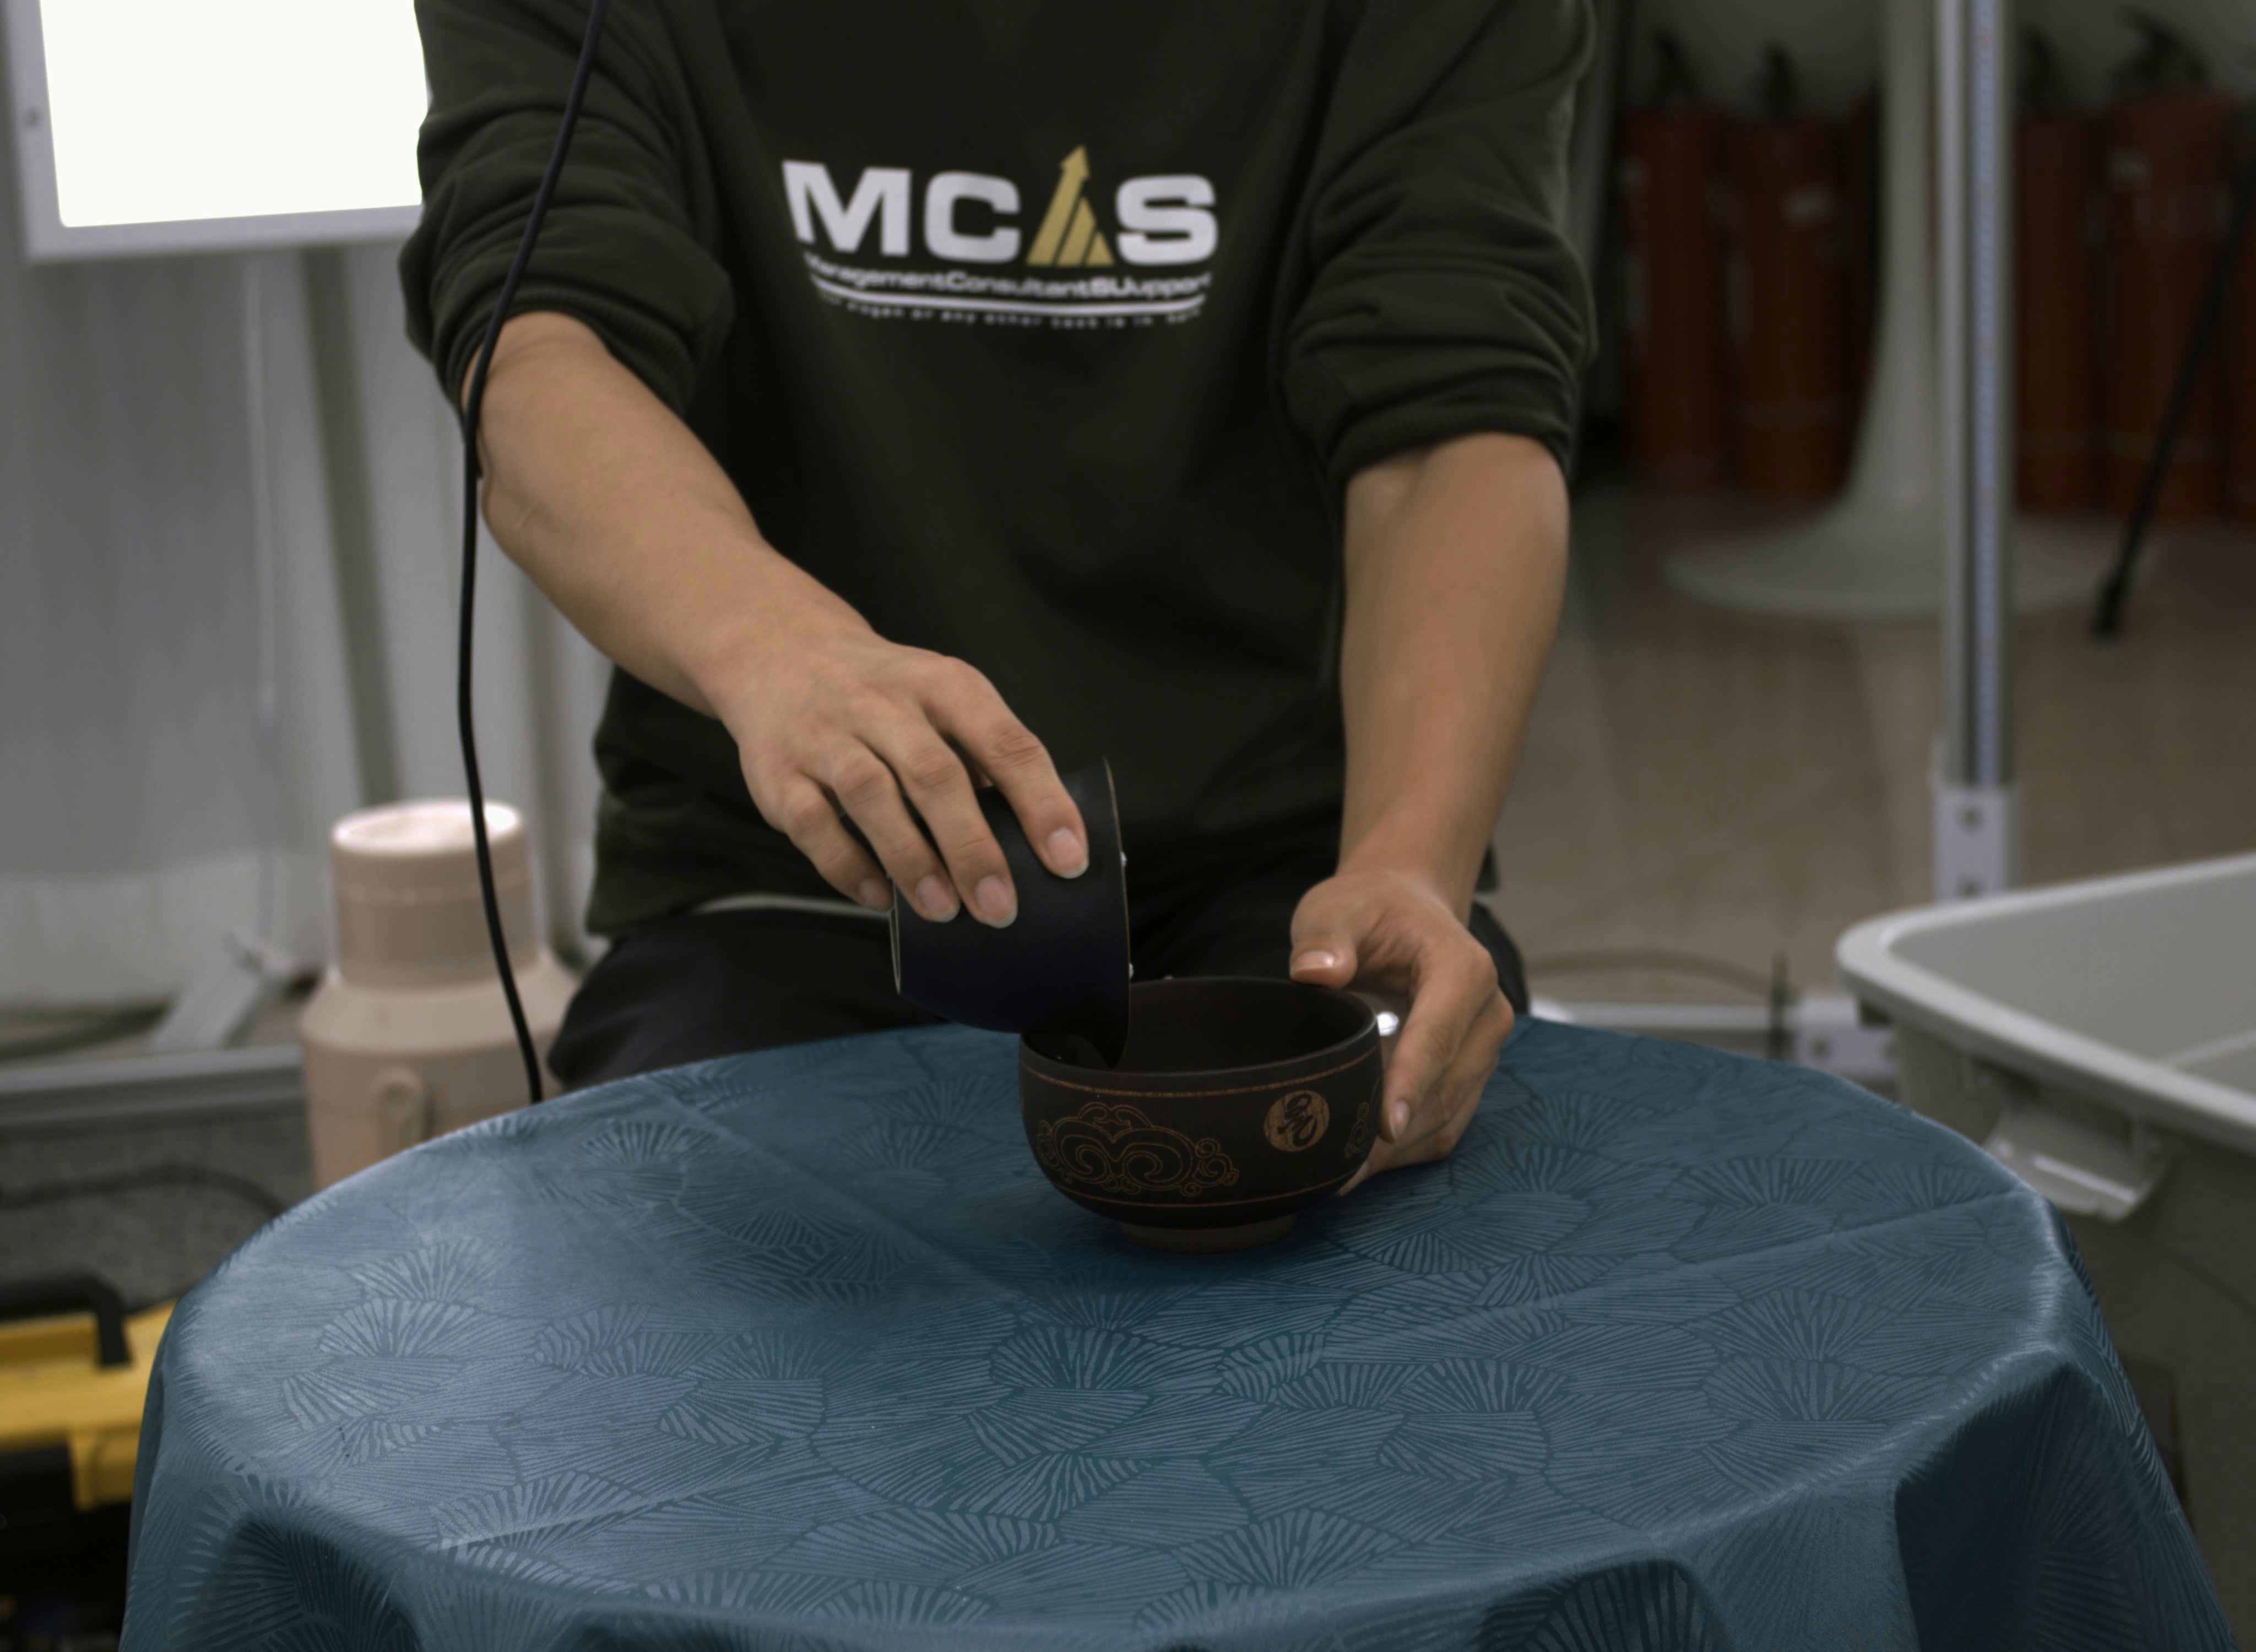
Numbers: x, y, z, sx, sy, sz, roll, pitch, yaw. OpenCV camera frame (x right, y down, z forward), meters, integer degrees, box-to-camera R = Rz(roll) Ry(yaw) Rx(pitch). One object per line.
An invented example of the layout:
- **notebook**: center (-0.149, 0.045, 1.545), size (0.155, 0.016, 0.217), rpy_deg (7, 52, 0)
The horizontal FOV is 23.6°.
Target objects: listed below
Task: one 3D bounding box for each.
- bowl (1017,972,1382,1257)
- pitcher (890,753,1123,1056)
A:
- **bowl**: center (0.024, 0.096, 1.726), size (0.116, 0.070, 0.118), rpy_deg (-5, 15, 0)
- **pitcher**: center (-0.038, 0.026, 1.708), size (0.070, 0.097, 0.084), rpy_deg (-2, 2, -8)
